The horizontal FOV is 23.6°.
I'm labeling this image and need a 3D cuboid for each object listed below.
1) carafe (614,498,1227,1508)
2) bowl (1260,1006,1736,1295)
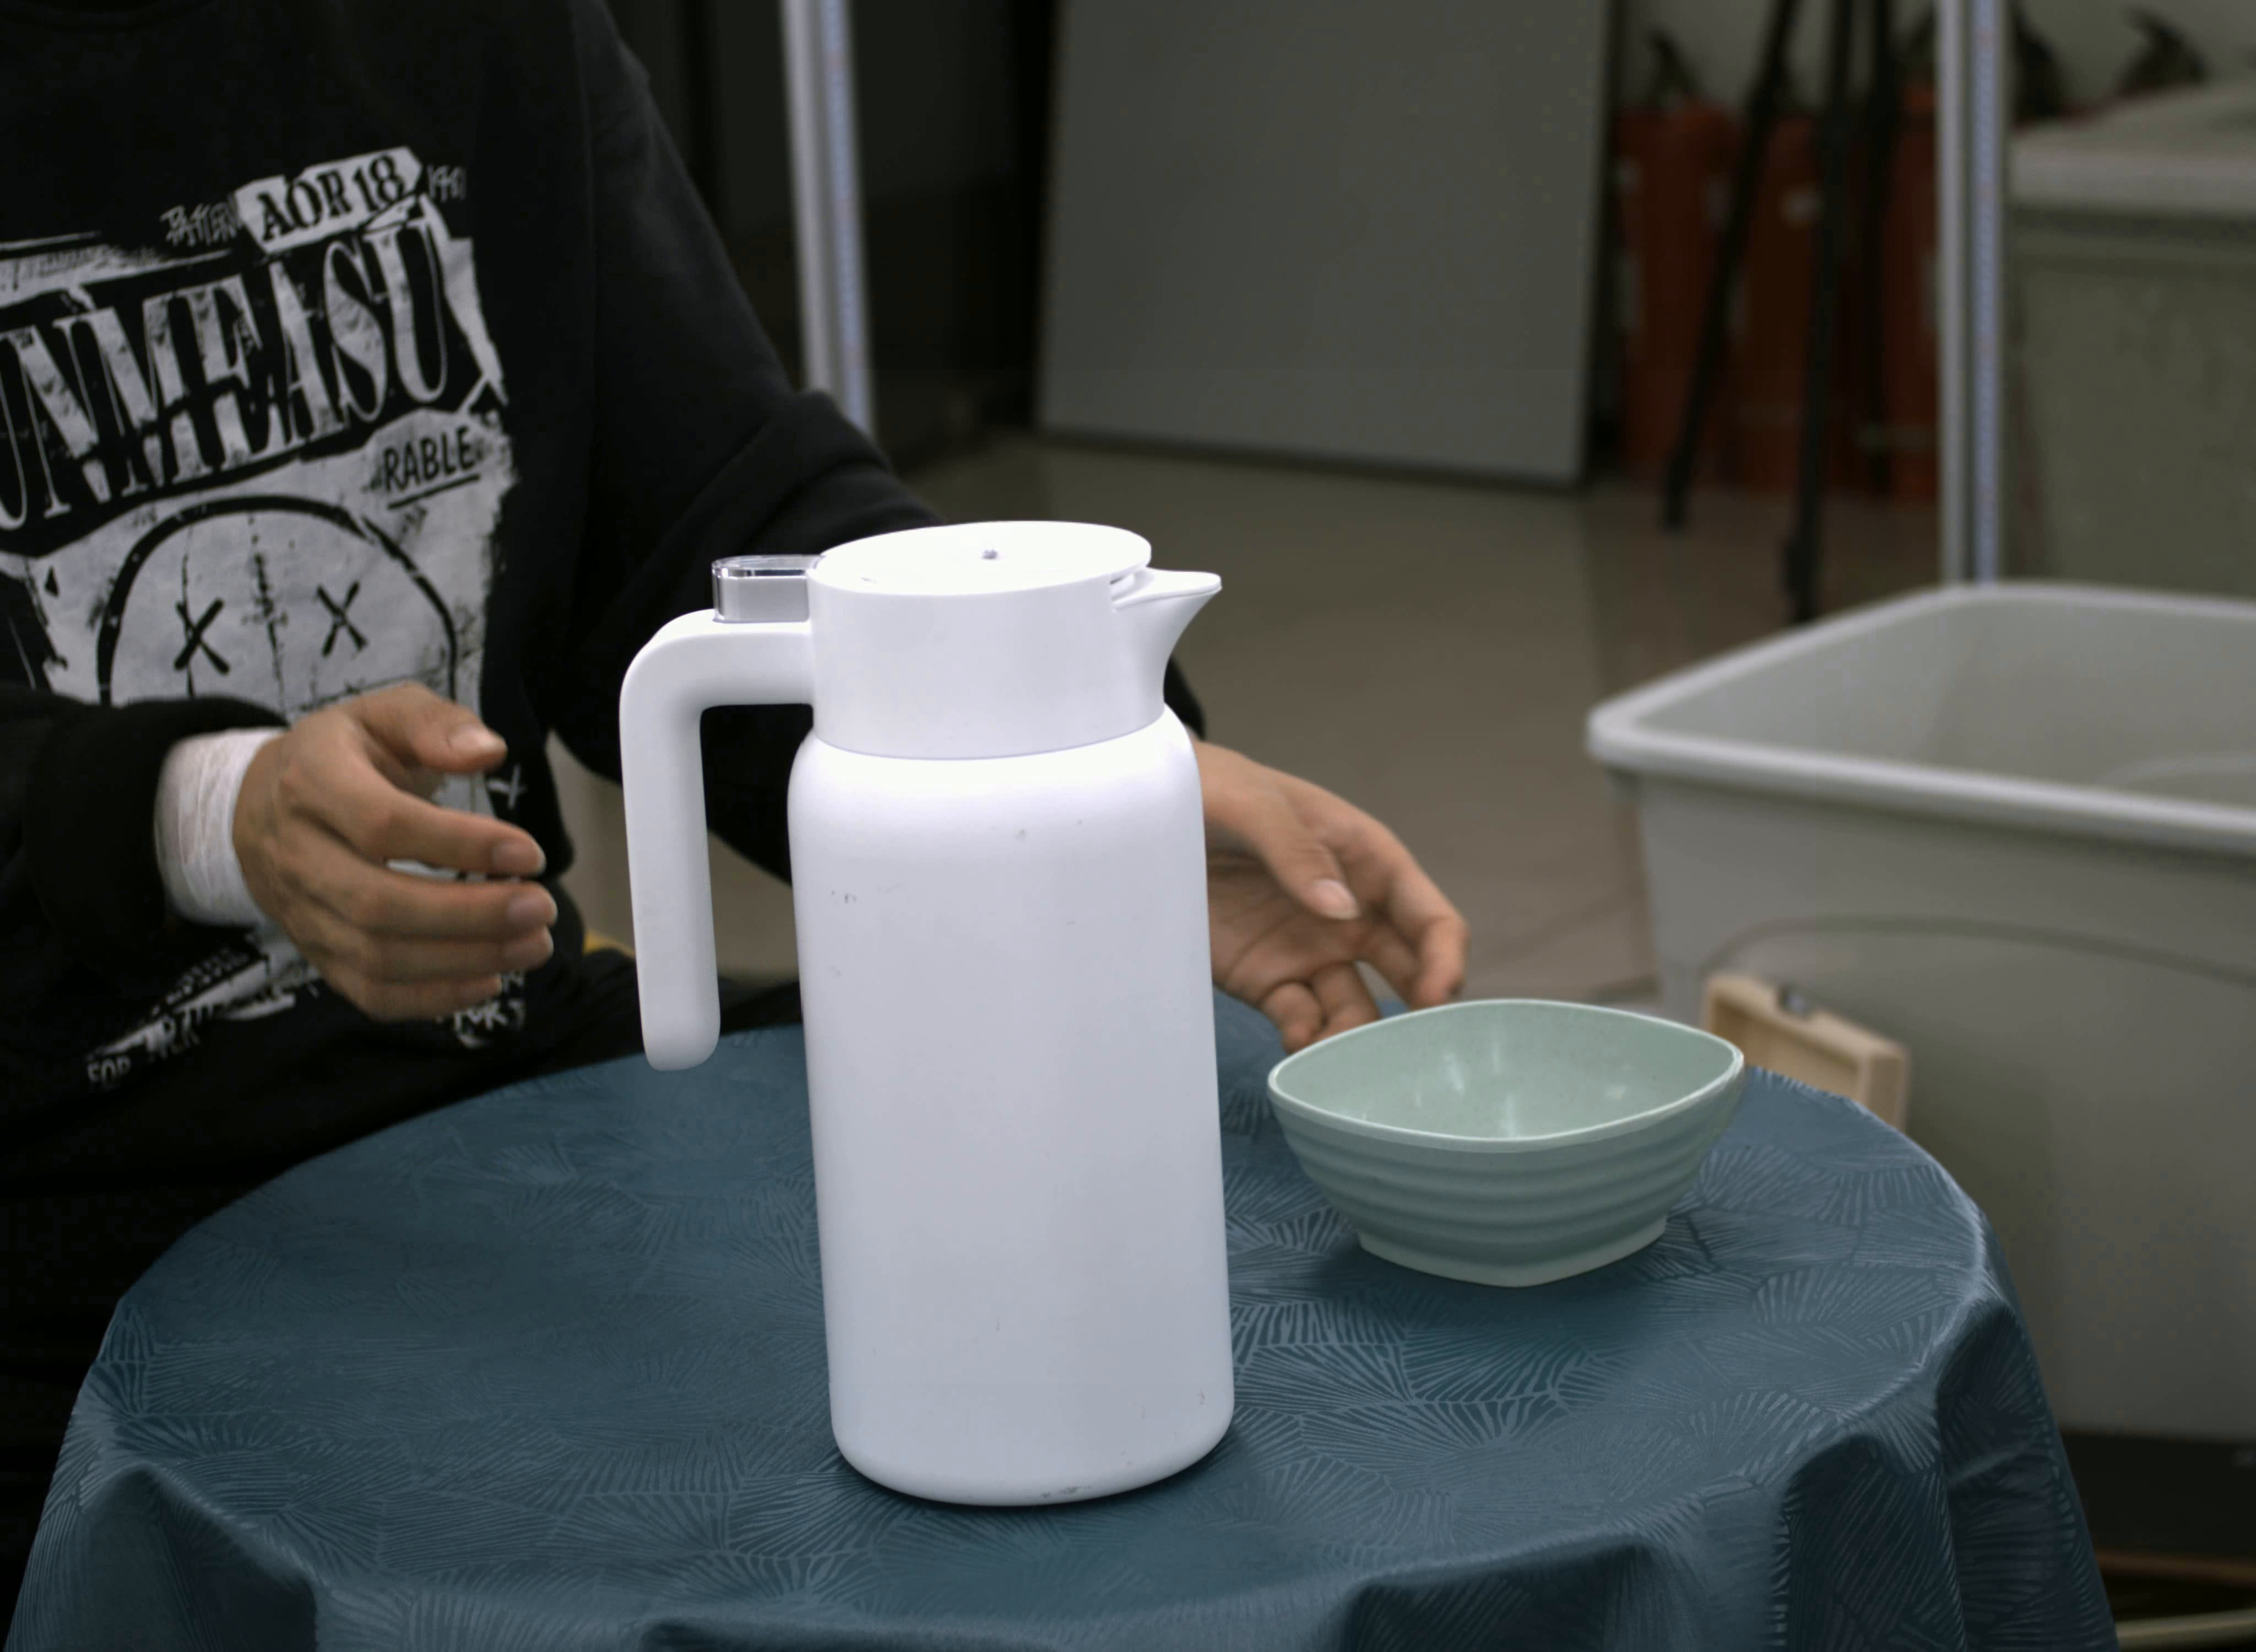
[{"bbox_3d":[-0.053,0.049,1.522,0.171,0.272,0.123,-2,15,8],"label":"carafe"},{"bbox_3d":[0.118,0.105,1.694,0.149,0.059,0.151,-4,13,0],"label":"bowl"}]
